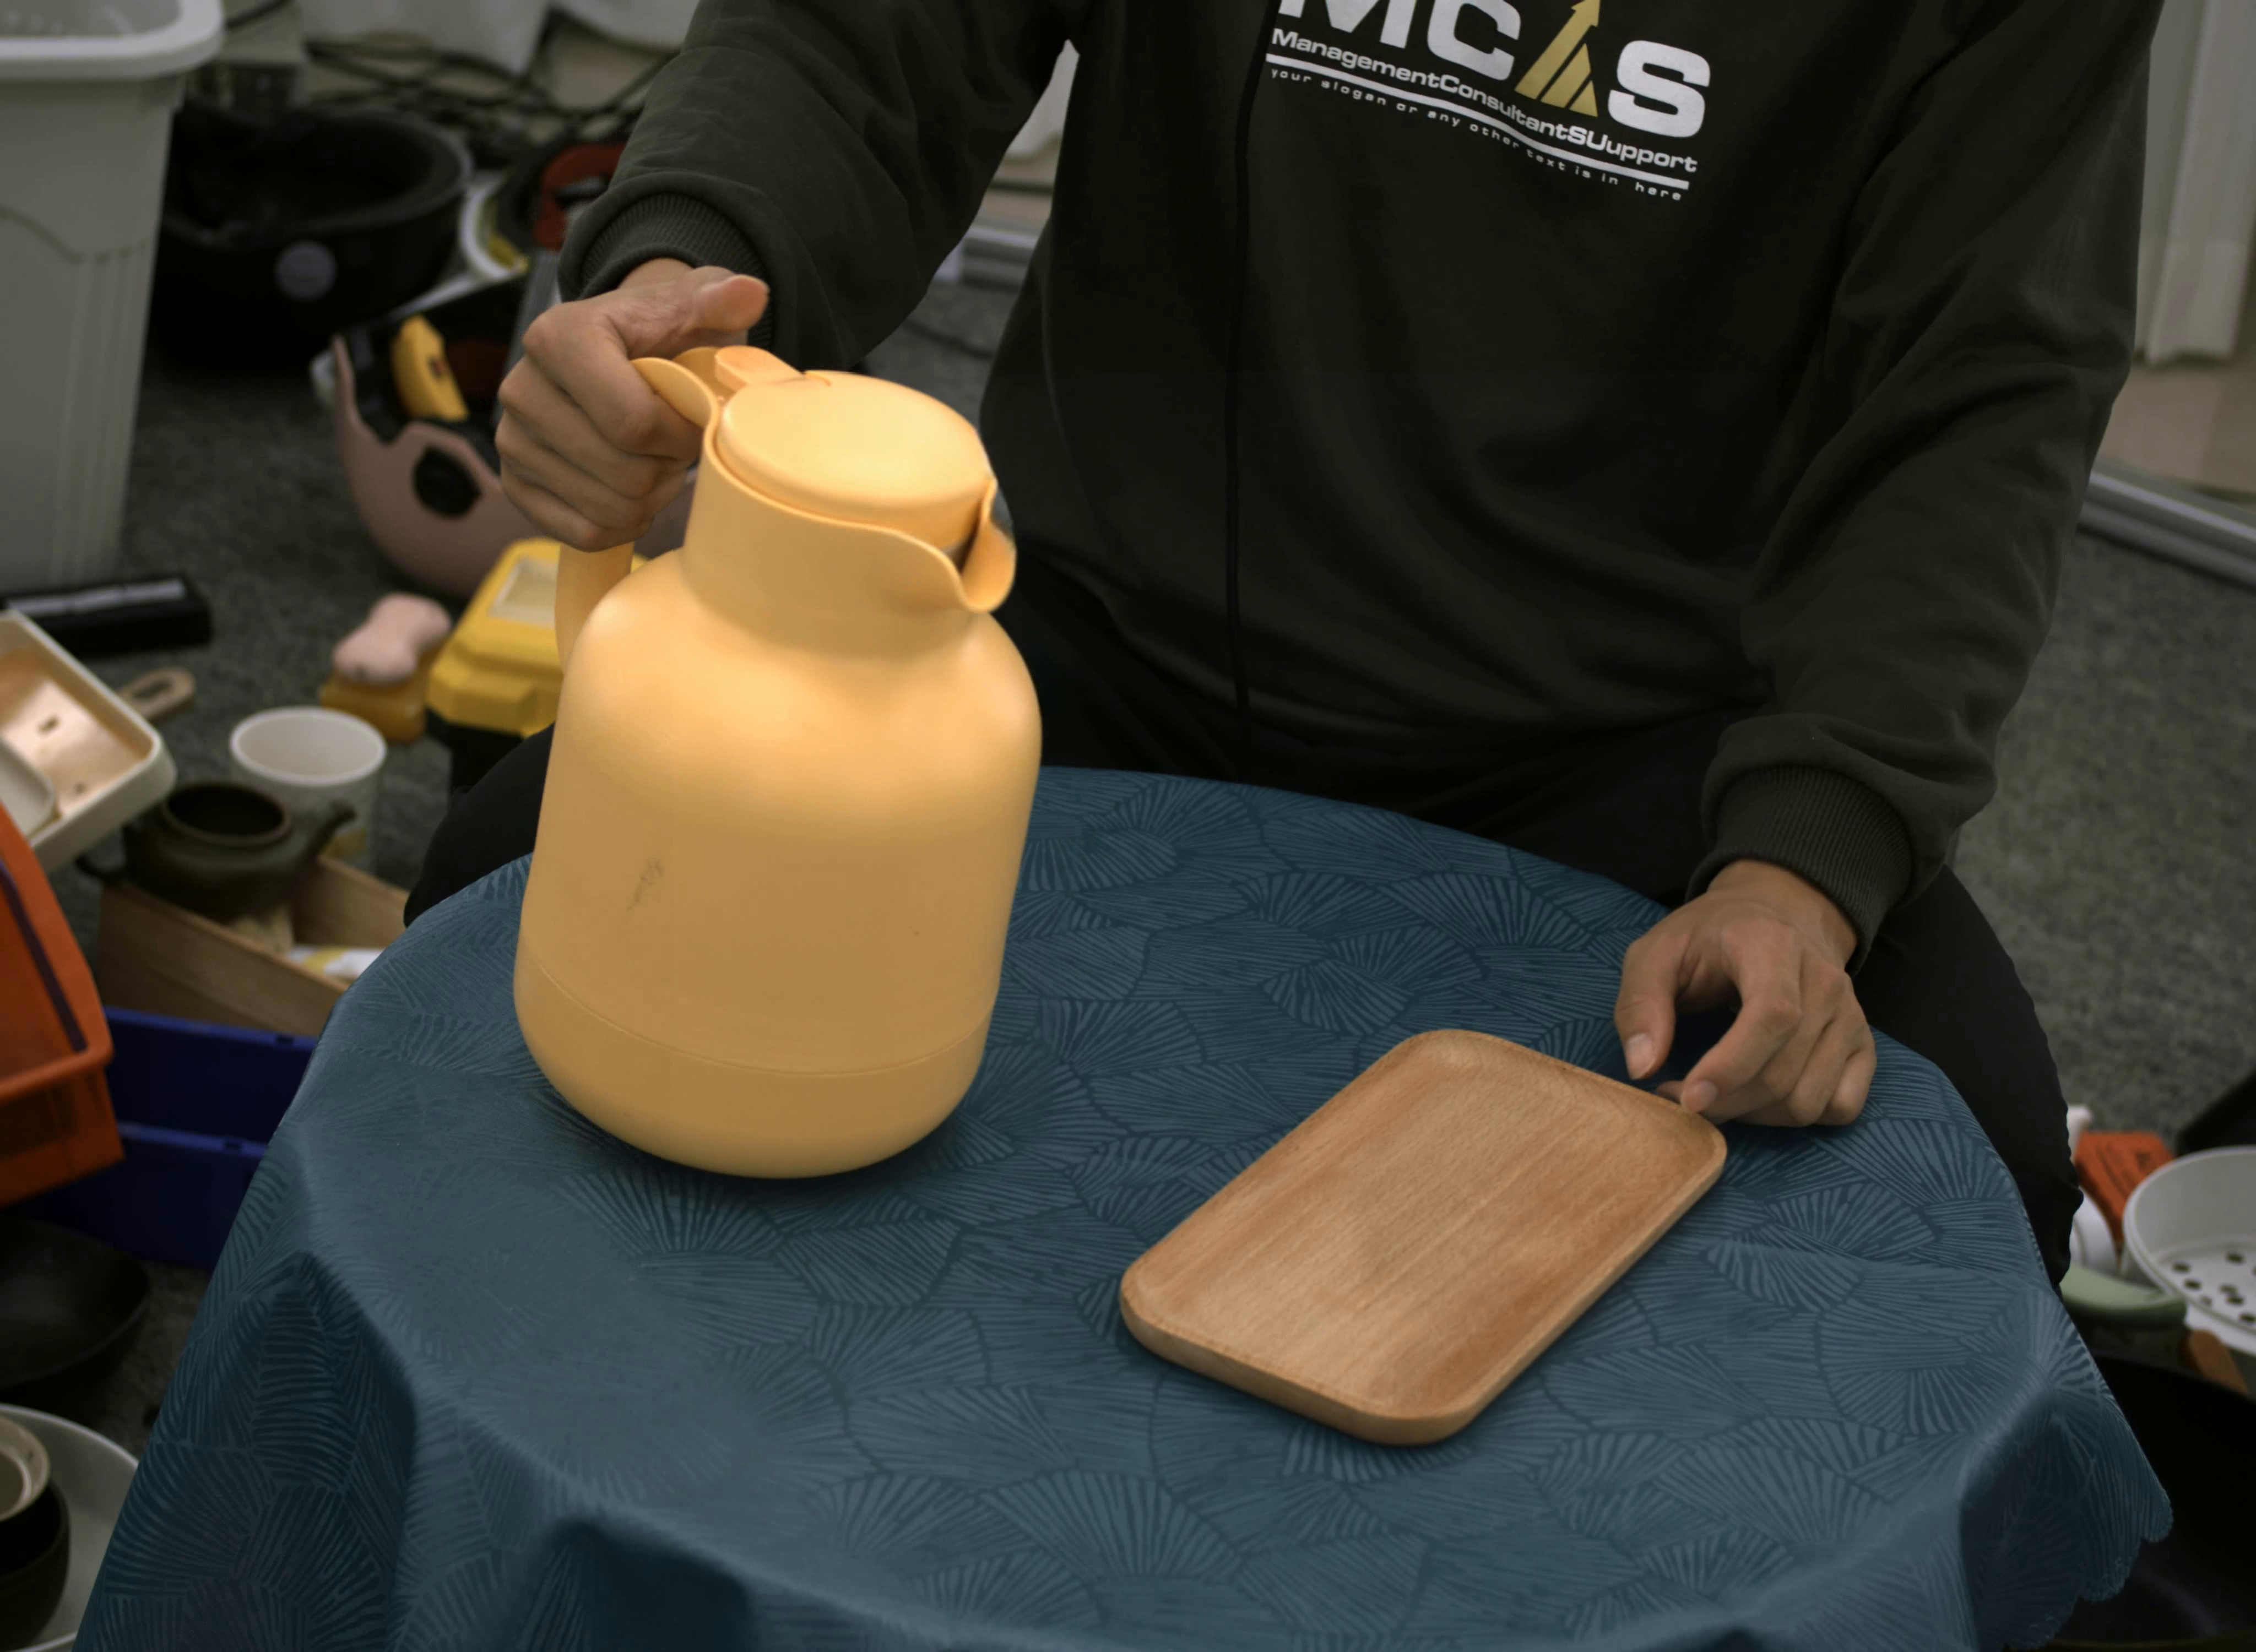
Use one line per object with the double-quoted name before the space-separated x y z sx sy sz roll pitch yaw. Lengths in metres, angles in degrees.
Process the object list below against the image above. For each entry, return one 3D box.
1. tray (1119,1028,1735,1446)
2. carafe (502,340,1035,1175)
"tray" 0.103 0.136 1.790 0.131 0.023 0.250 23 30 24
"carafe" -0.124 -0.033 1.785 0.162 0.260 0.204 -11 37 -39
